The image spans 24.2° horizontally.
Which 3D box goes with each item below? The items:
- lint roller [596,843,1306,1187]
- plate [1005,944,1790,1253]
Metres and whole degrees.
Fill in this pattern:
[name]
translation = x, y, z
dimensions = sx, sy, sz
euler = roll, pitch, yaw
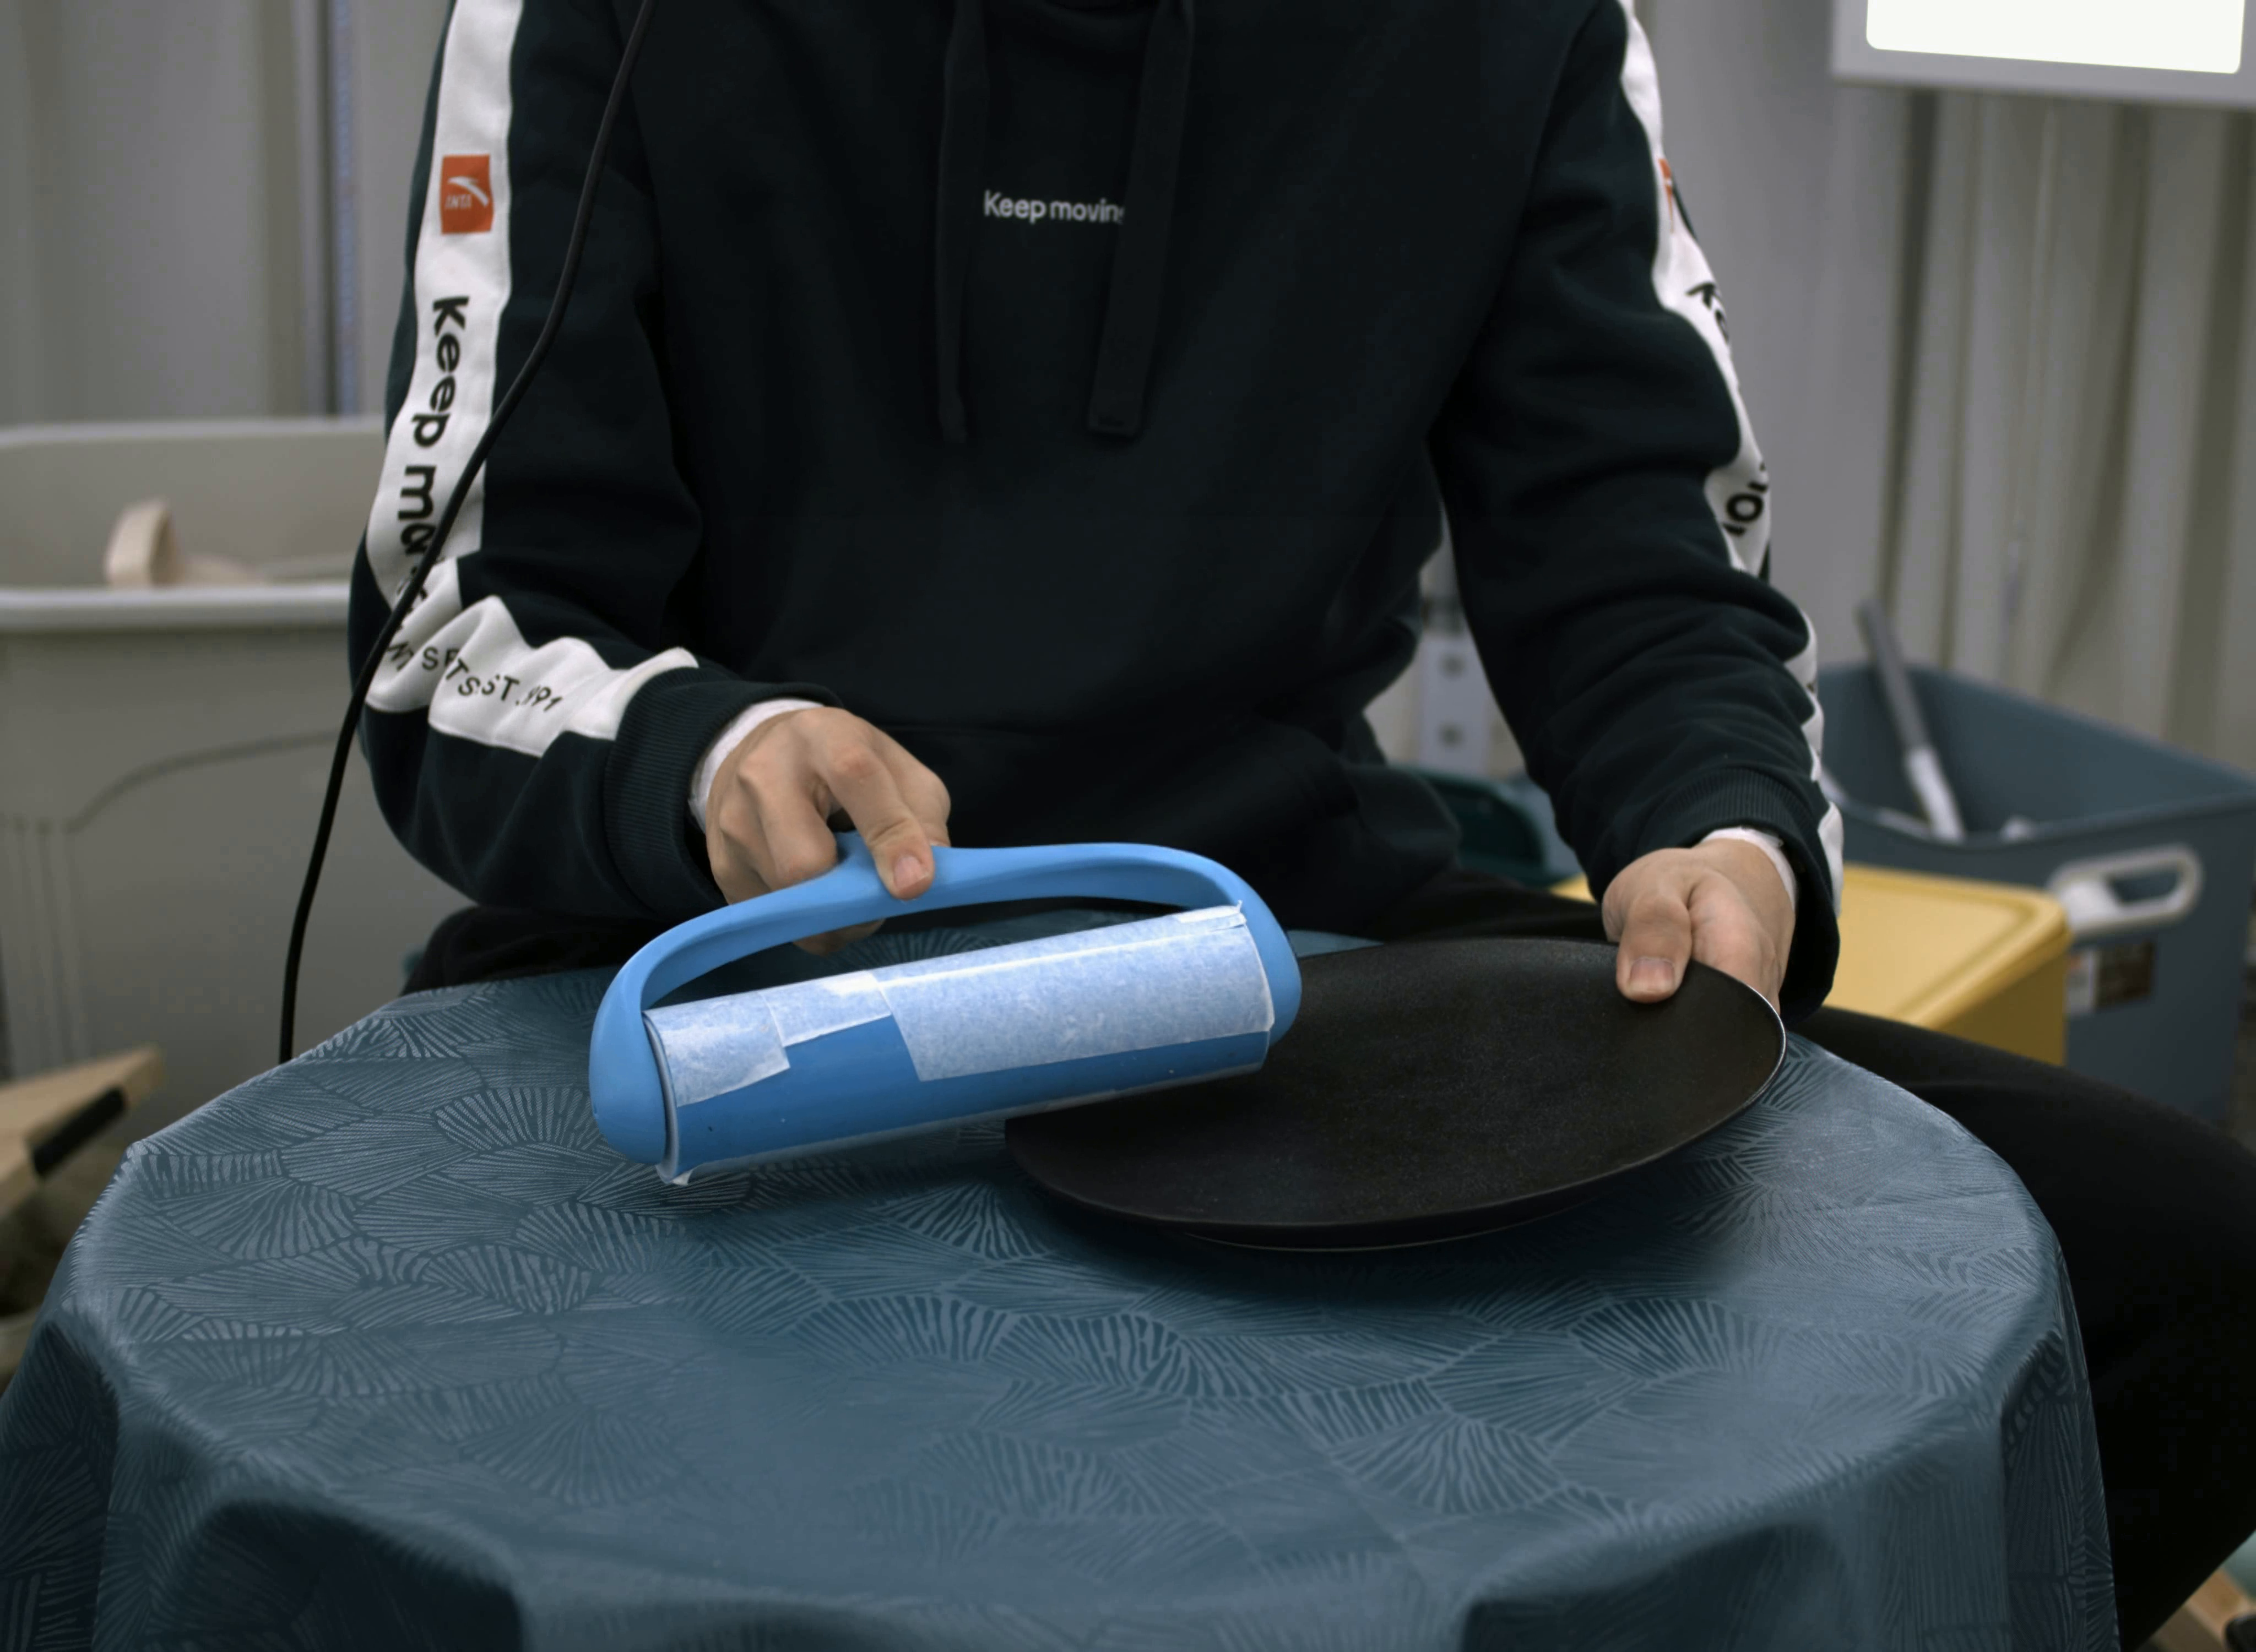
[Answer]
[lint roller]
translation = -0.075, 0.039, 1.671
dimensions = 0.229, 0.068, 0.178
euler = -12, 32, -20
[plate]
translation = 0.084, 0.086, 1.628
dimensions = 0.243, 0.023, 0.243
euler = -7, 17, 3
